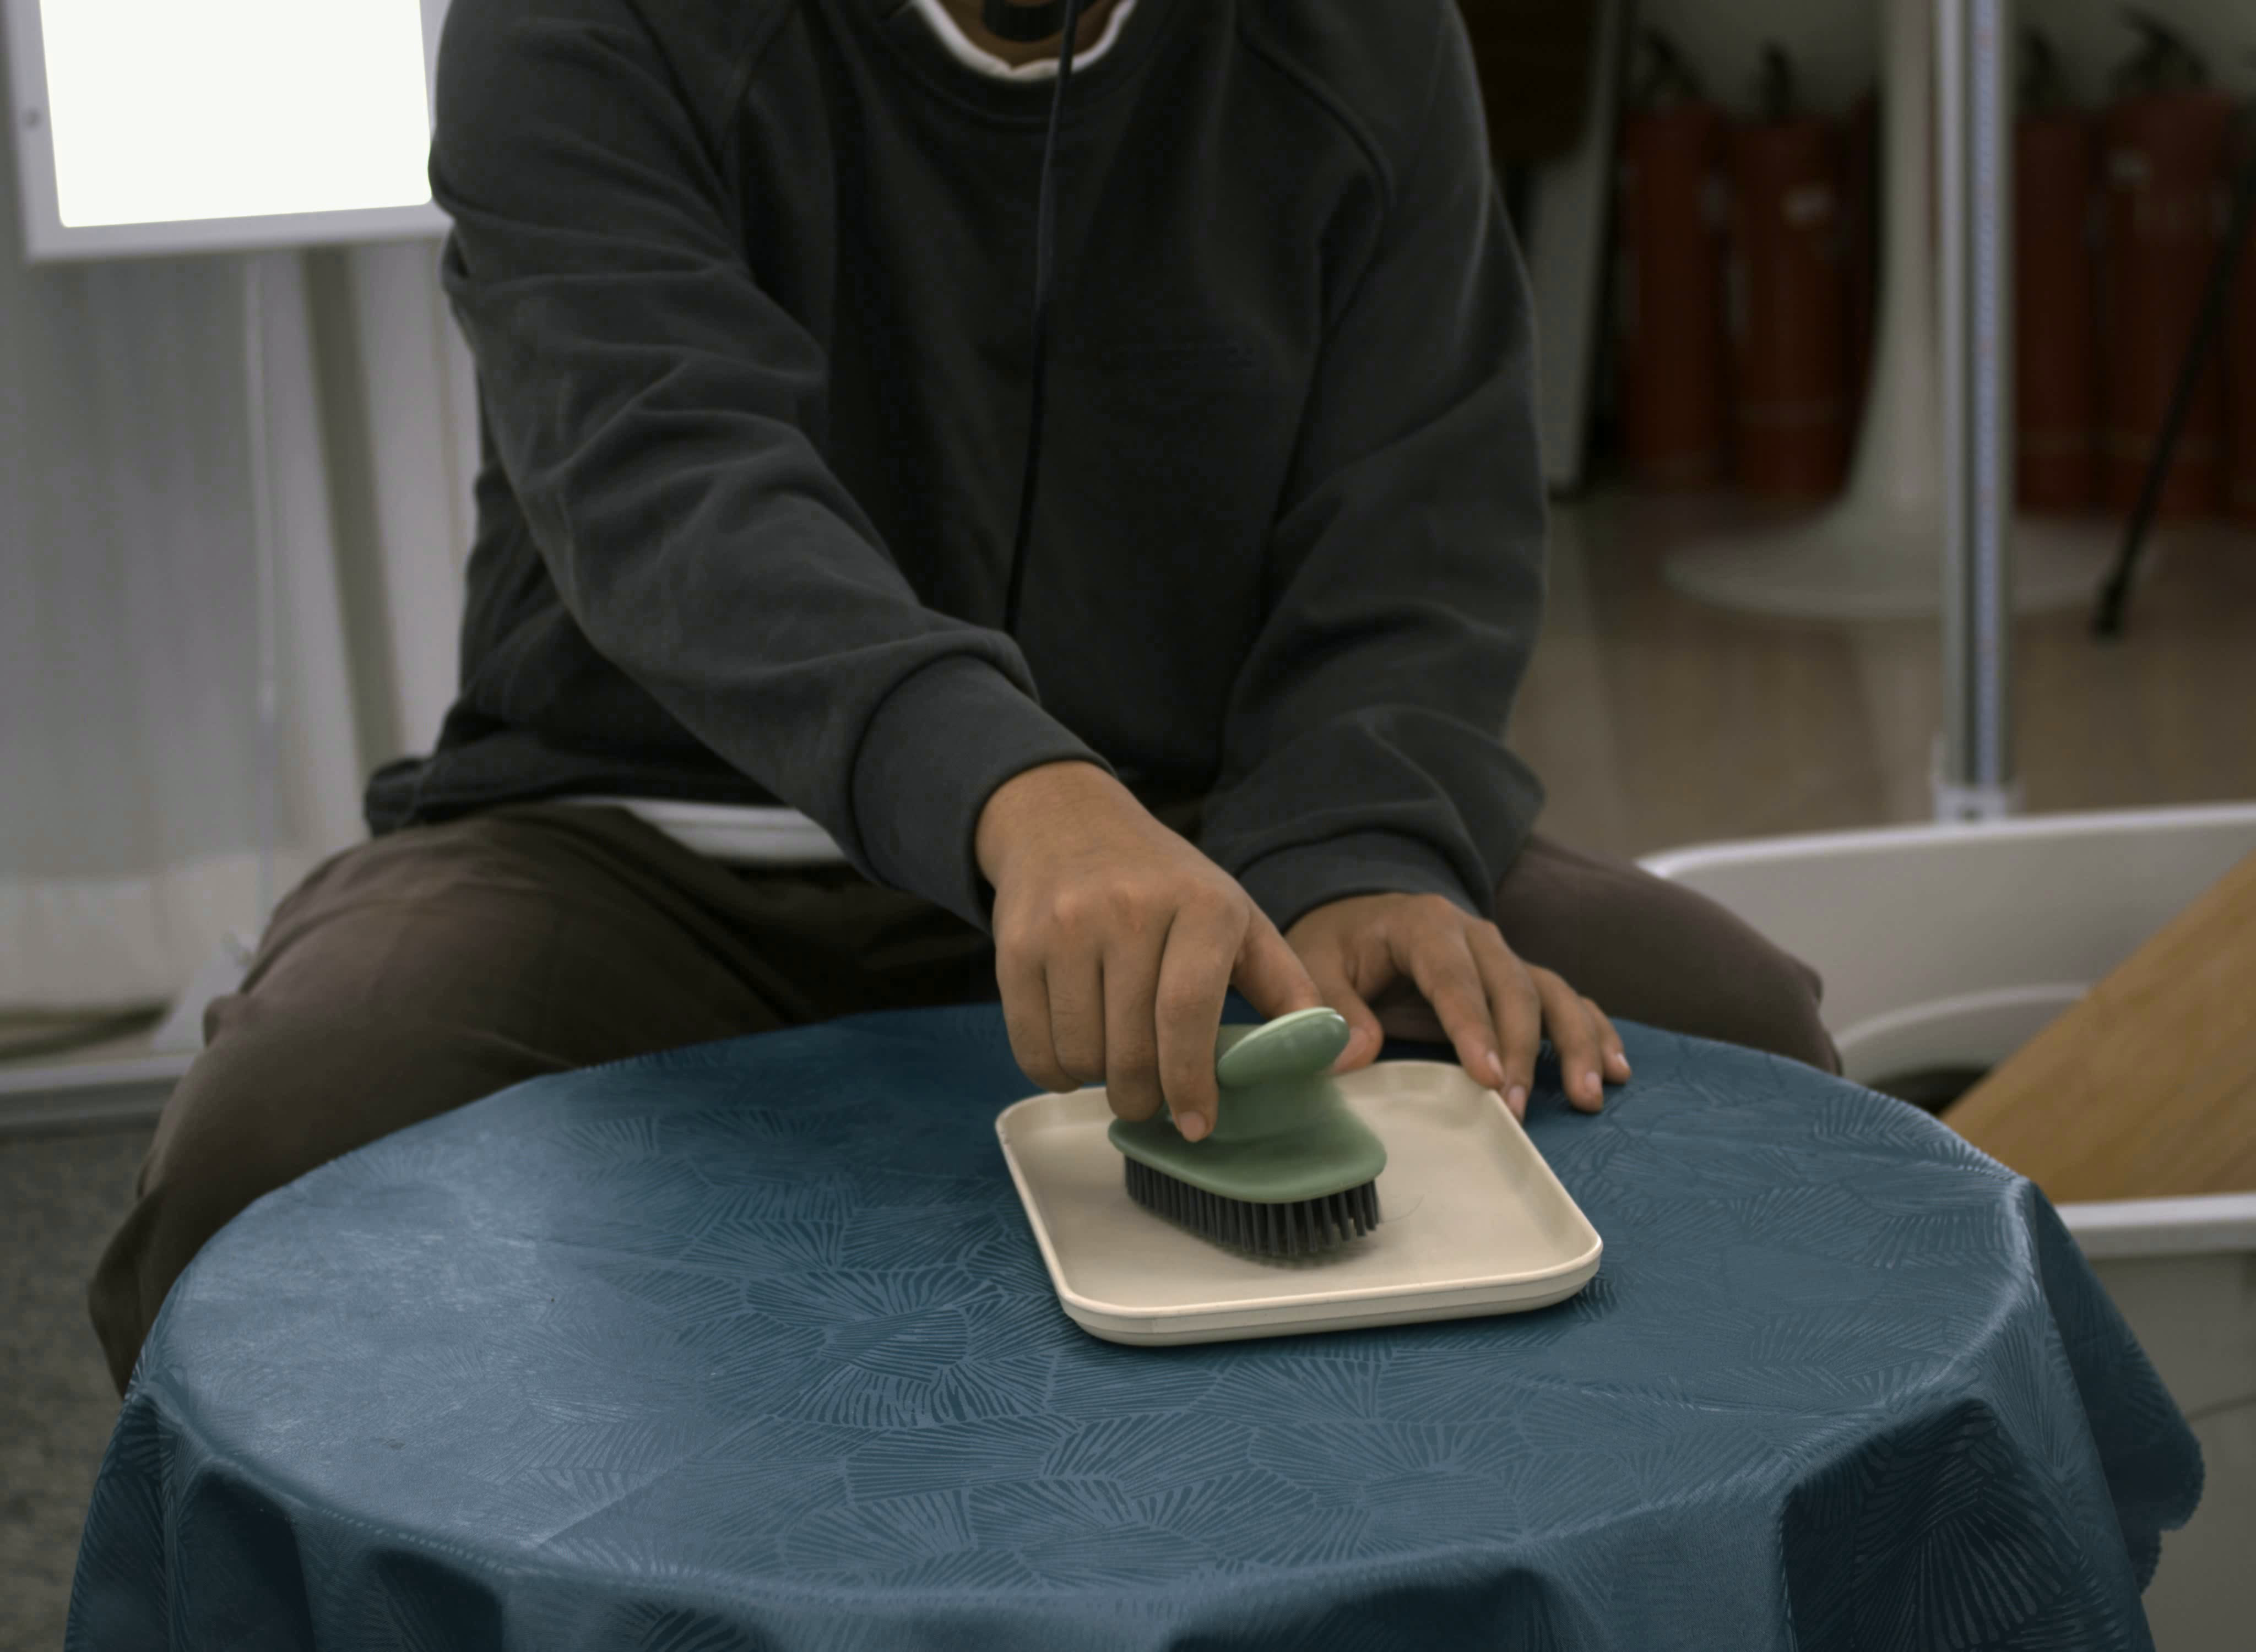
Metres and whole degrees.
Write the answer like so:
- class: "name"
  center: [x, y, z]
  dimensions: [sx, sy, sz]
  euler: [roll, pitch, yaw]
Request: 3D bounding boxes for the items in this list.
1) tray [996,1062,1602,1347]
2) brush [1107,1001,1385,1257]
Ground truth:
- class: "tray"
  center: [0.051, 0.120, 1.726]
  dimensions: [0.168, 0.017, 0.241]
  euler: [-5, 14, -6]
- class: "brush"
  center: [0.037, 0.097, 1.715]
  dimensions: [0.058, 0.076, 0.124]
  euler: [-15, 1, -27]
